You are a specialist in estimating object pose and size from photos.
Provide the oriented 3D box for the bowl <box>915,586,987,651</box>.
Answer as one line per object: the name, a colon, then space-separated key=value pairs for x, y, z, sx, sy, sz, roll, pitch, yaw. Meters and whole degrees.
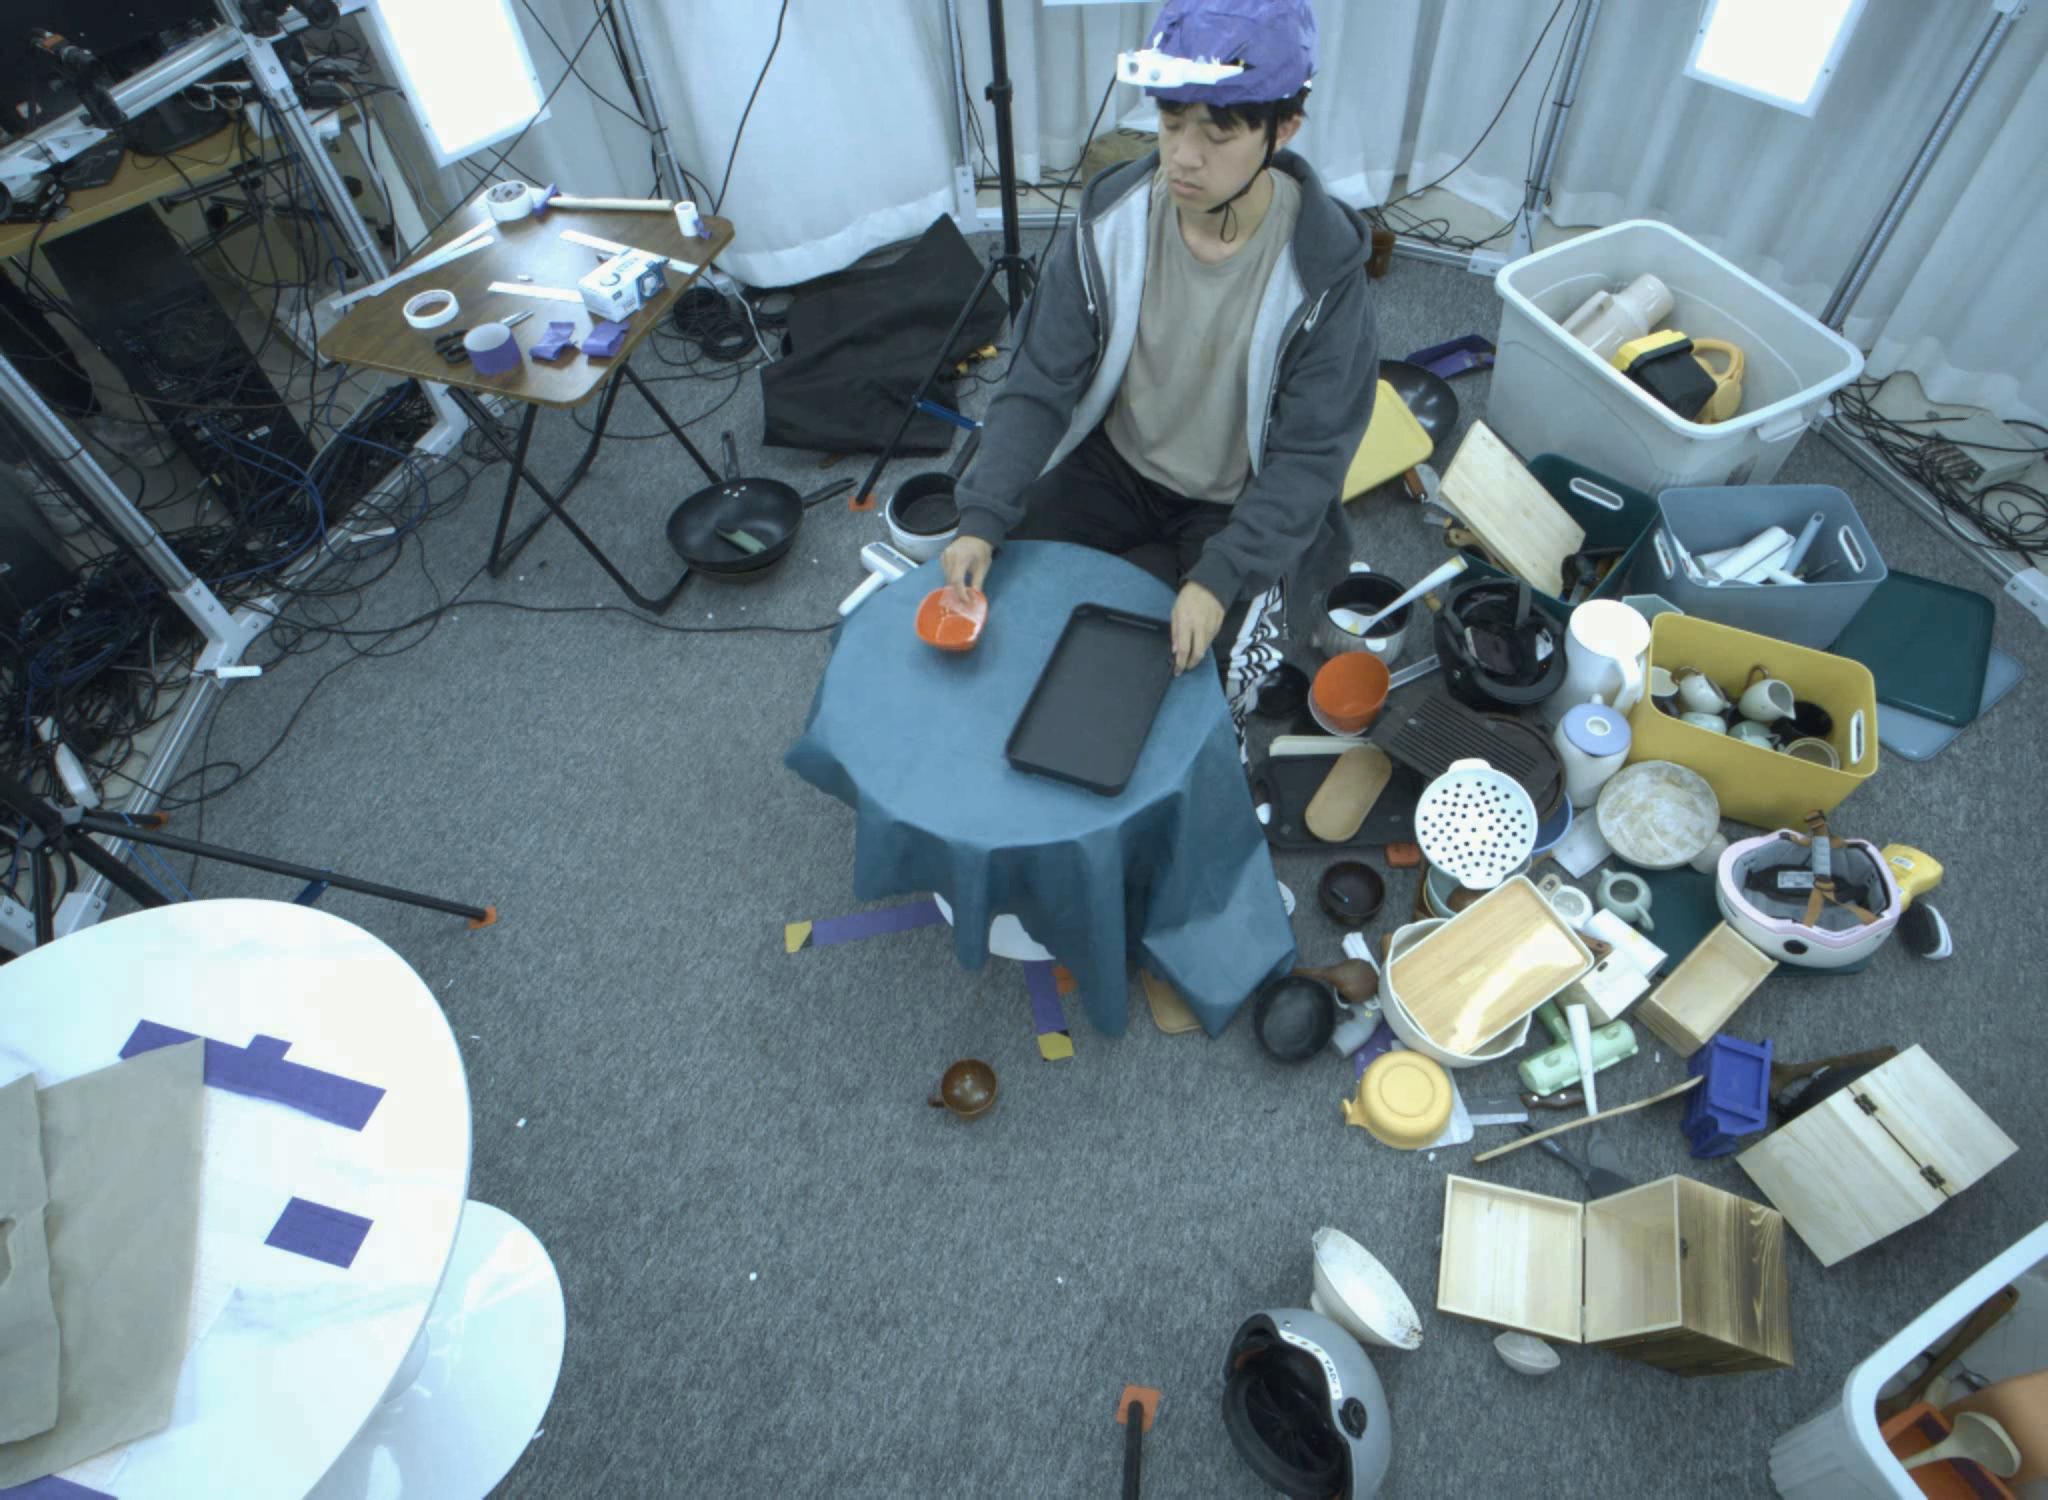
bowl: x=-0.107 y=-0.194 z=1.881 sx=0.118 sy=0.052 sz=0.118 roll=-5 pitch=60 yaw=10

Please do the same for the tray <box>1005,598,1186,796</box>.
tray: x=0.110 y=-0.084 z=1.821 sx=0.182 sy=0.037 sz=0.317 roll=17 pitch=58 yaw=14
